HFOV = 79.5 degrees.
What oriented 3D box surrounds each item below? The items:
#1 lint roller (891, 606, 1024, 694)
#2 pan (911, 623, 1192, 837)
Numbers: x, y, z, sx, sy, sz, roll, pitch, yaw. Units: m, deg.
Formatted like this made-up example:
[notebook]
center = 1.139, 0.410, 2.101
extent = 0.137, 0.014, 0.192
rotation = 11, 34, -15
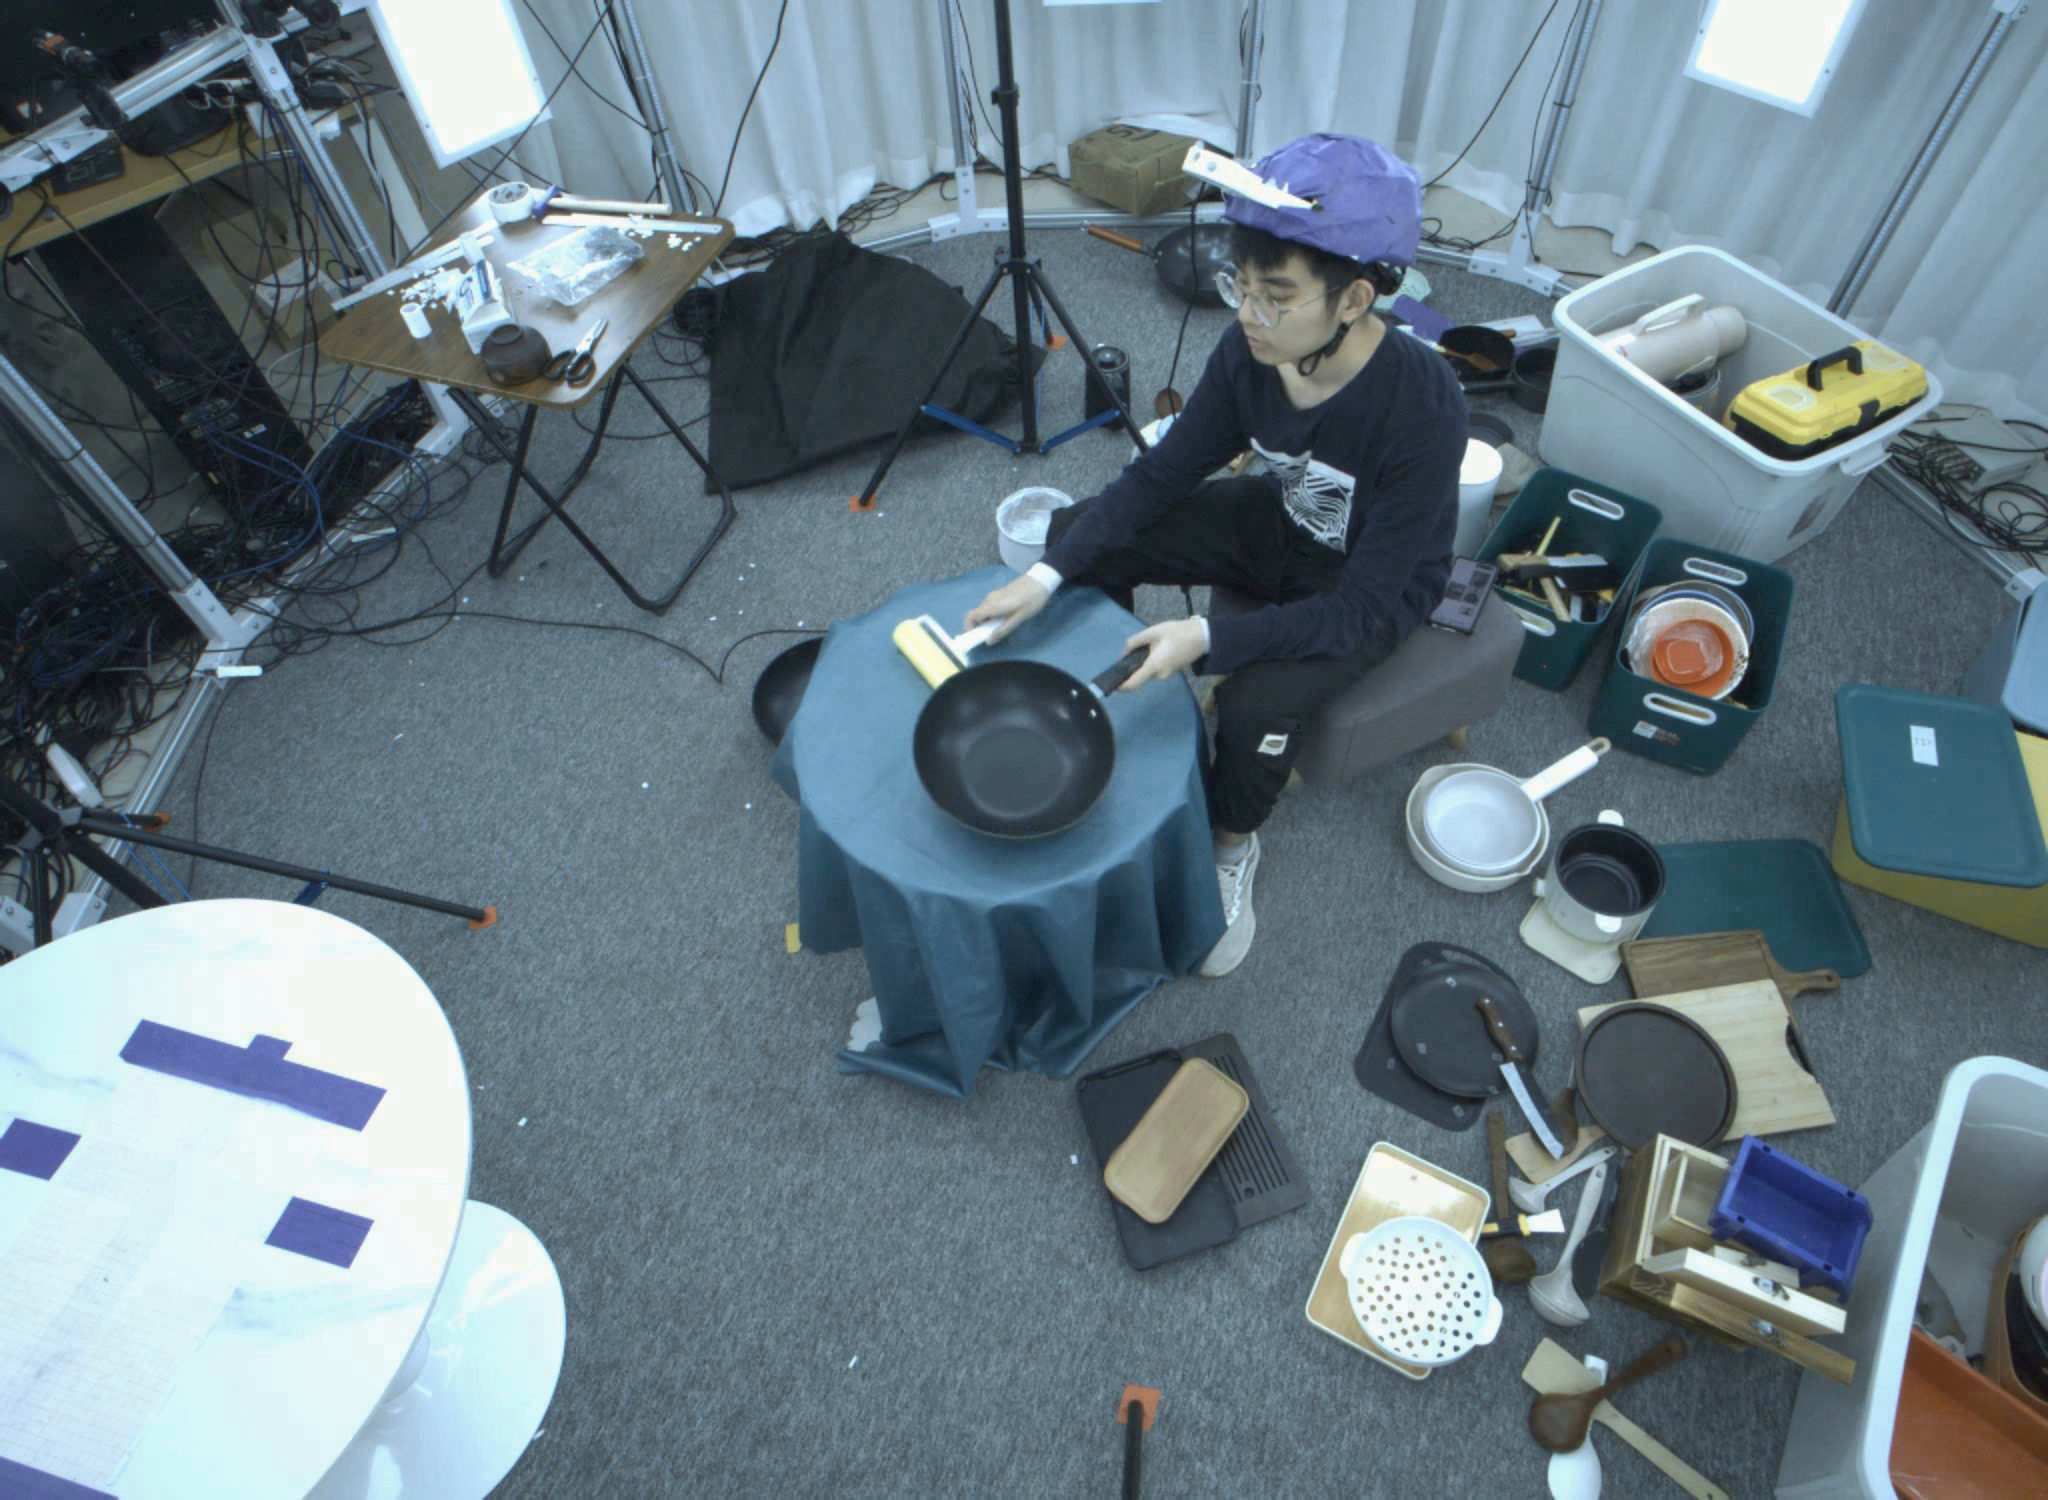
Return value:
[lint roller]
center = -0.084, -0.175, 1.877
extent = 0.193, 0.052, 0.171
rotation = -36, 58, -11
[pan]
center = 0.055, -0.041, 1.757
extent = 0.466, 0.087, 0.284
rotation = -36, 69, -19
